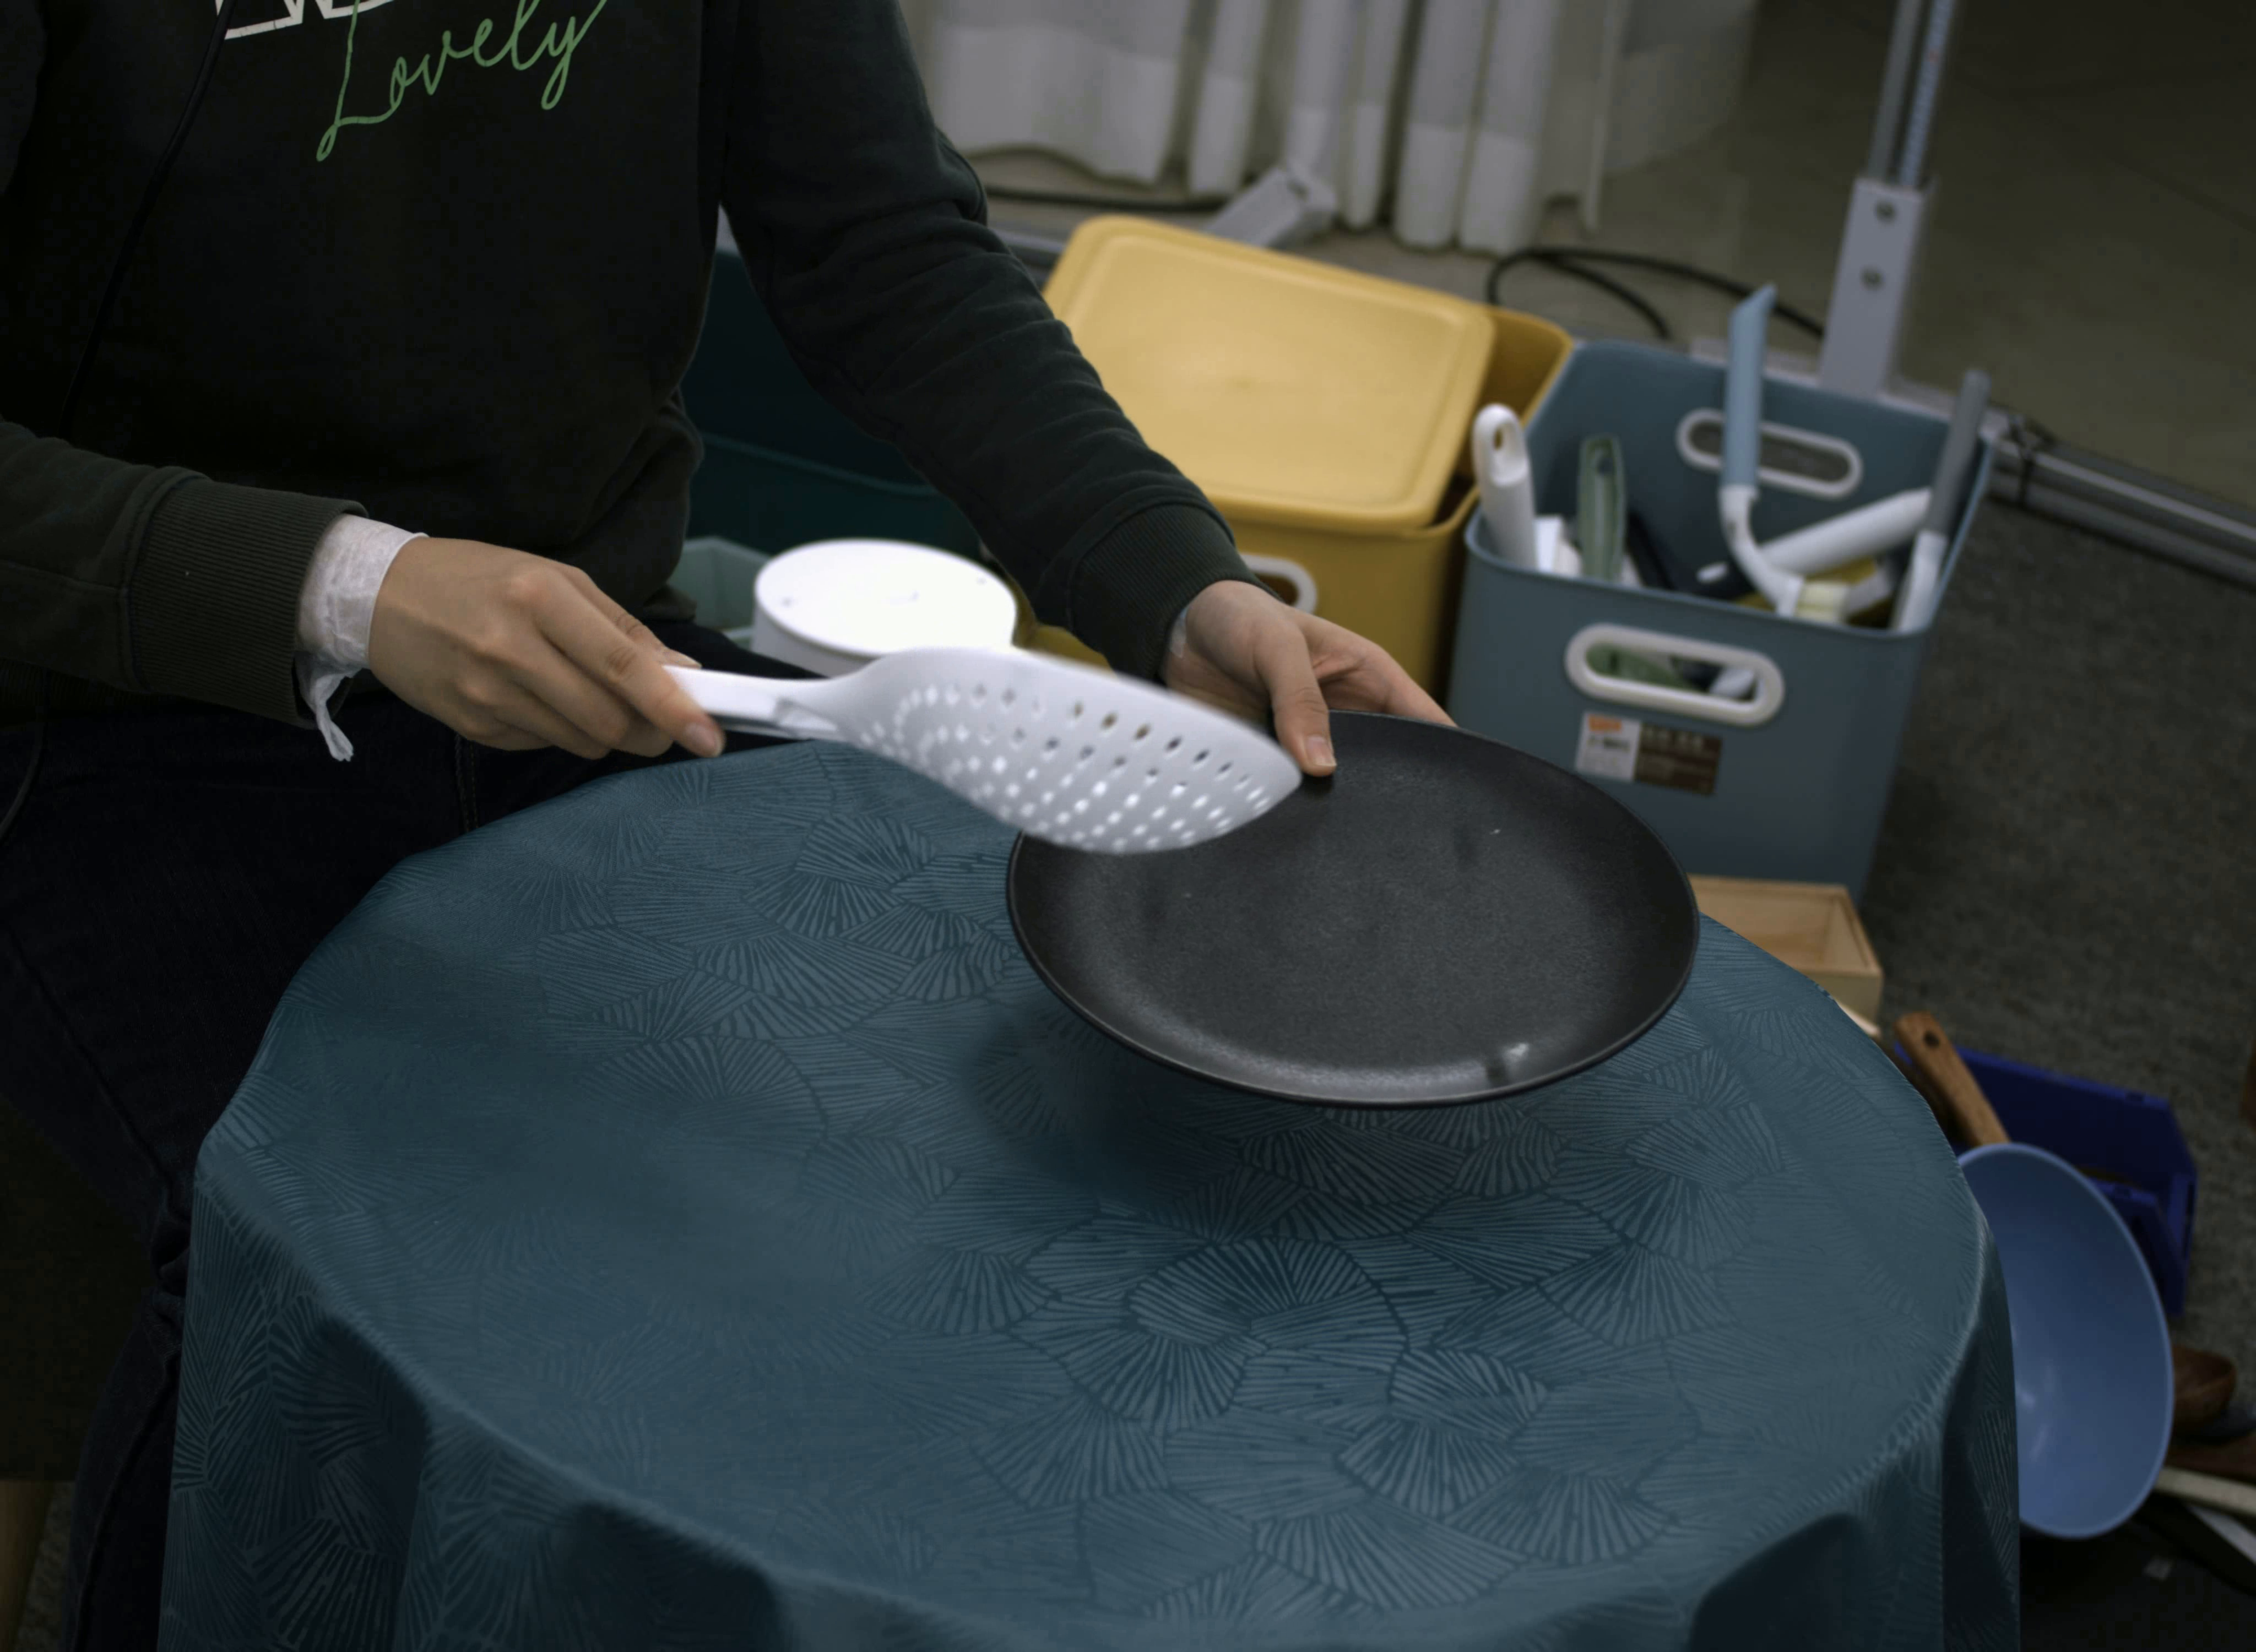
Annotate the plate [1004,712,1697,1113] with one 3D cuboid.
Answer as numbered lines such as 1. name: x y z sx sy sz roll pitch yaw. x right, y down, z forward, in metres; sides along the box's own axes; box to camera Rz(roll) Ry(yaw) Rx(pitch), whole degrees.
1. plate: 0.077 0.033 1.862 0.243 0.023 0.246 2 33 -2

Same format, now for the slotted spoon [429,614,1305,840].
1. slotted spoon: -0.098 -0.040 1.751 0.352 0.046 0.135 12 -15 38
